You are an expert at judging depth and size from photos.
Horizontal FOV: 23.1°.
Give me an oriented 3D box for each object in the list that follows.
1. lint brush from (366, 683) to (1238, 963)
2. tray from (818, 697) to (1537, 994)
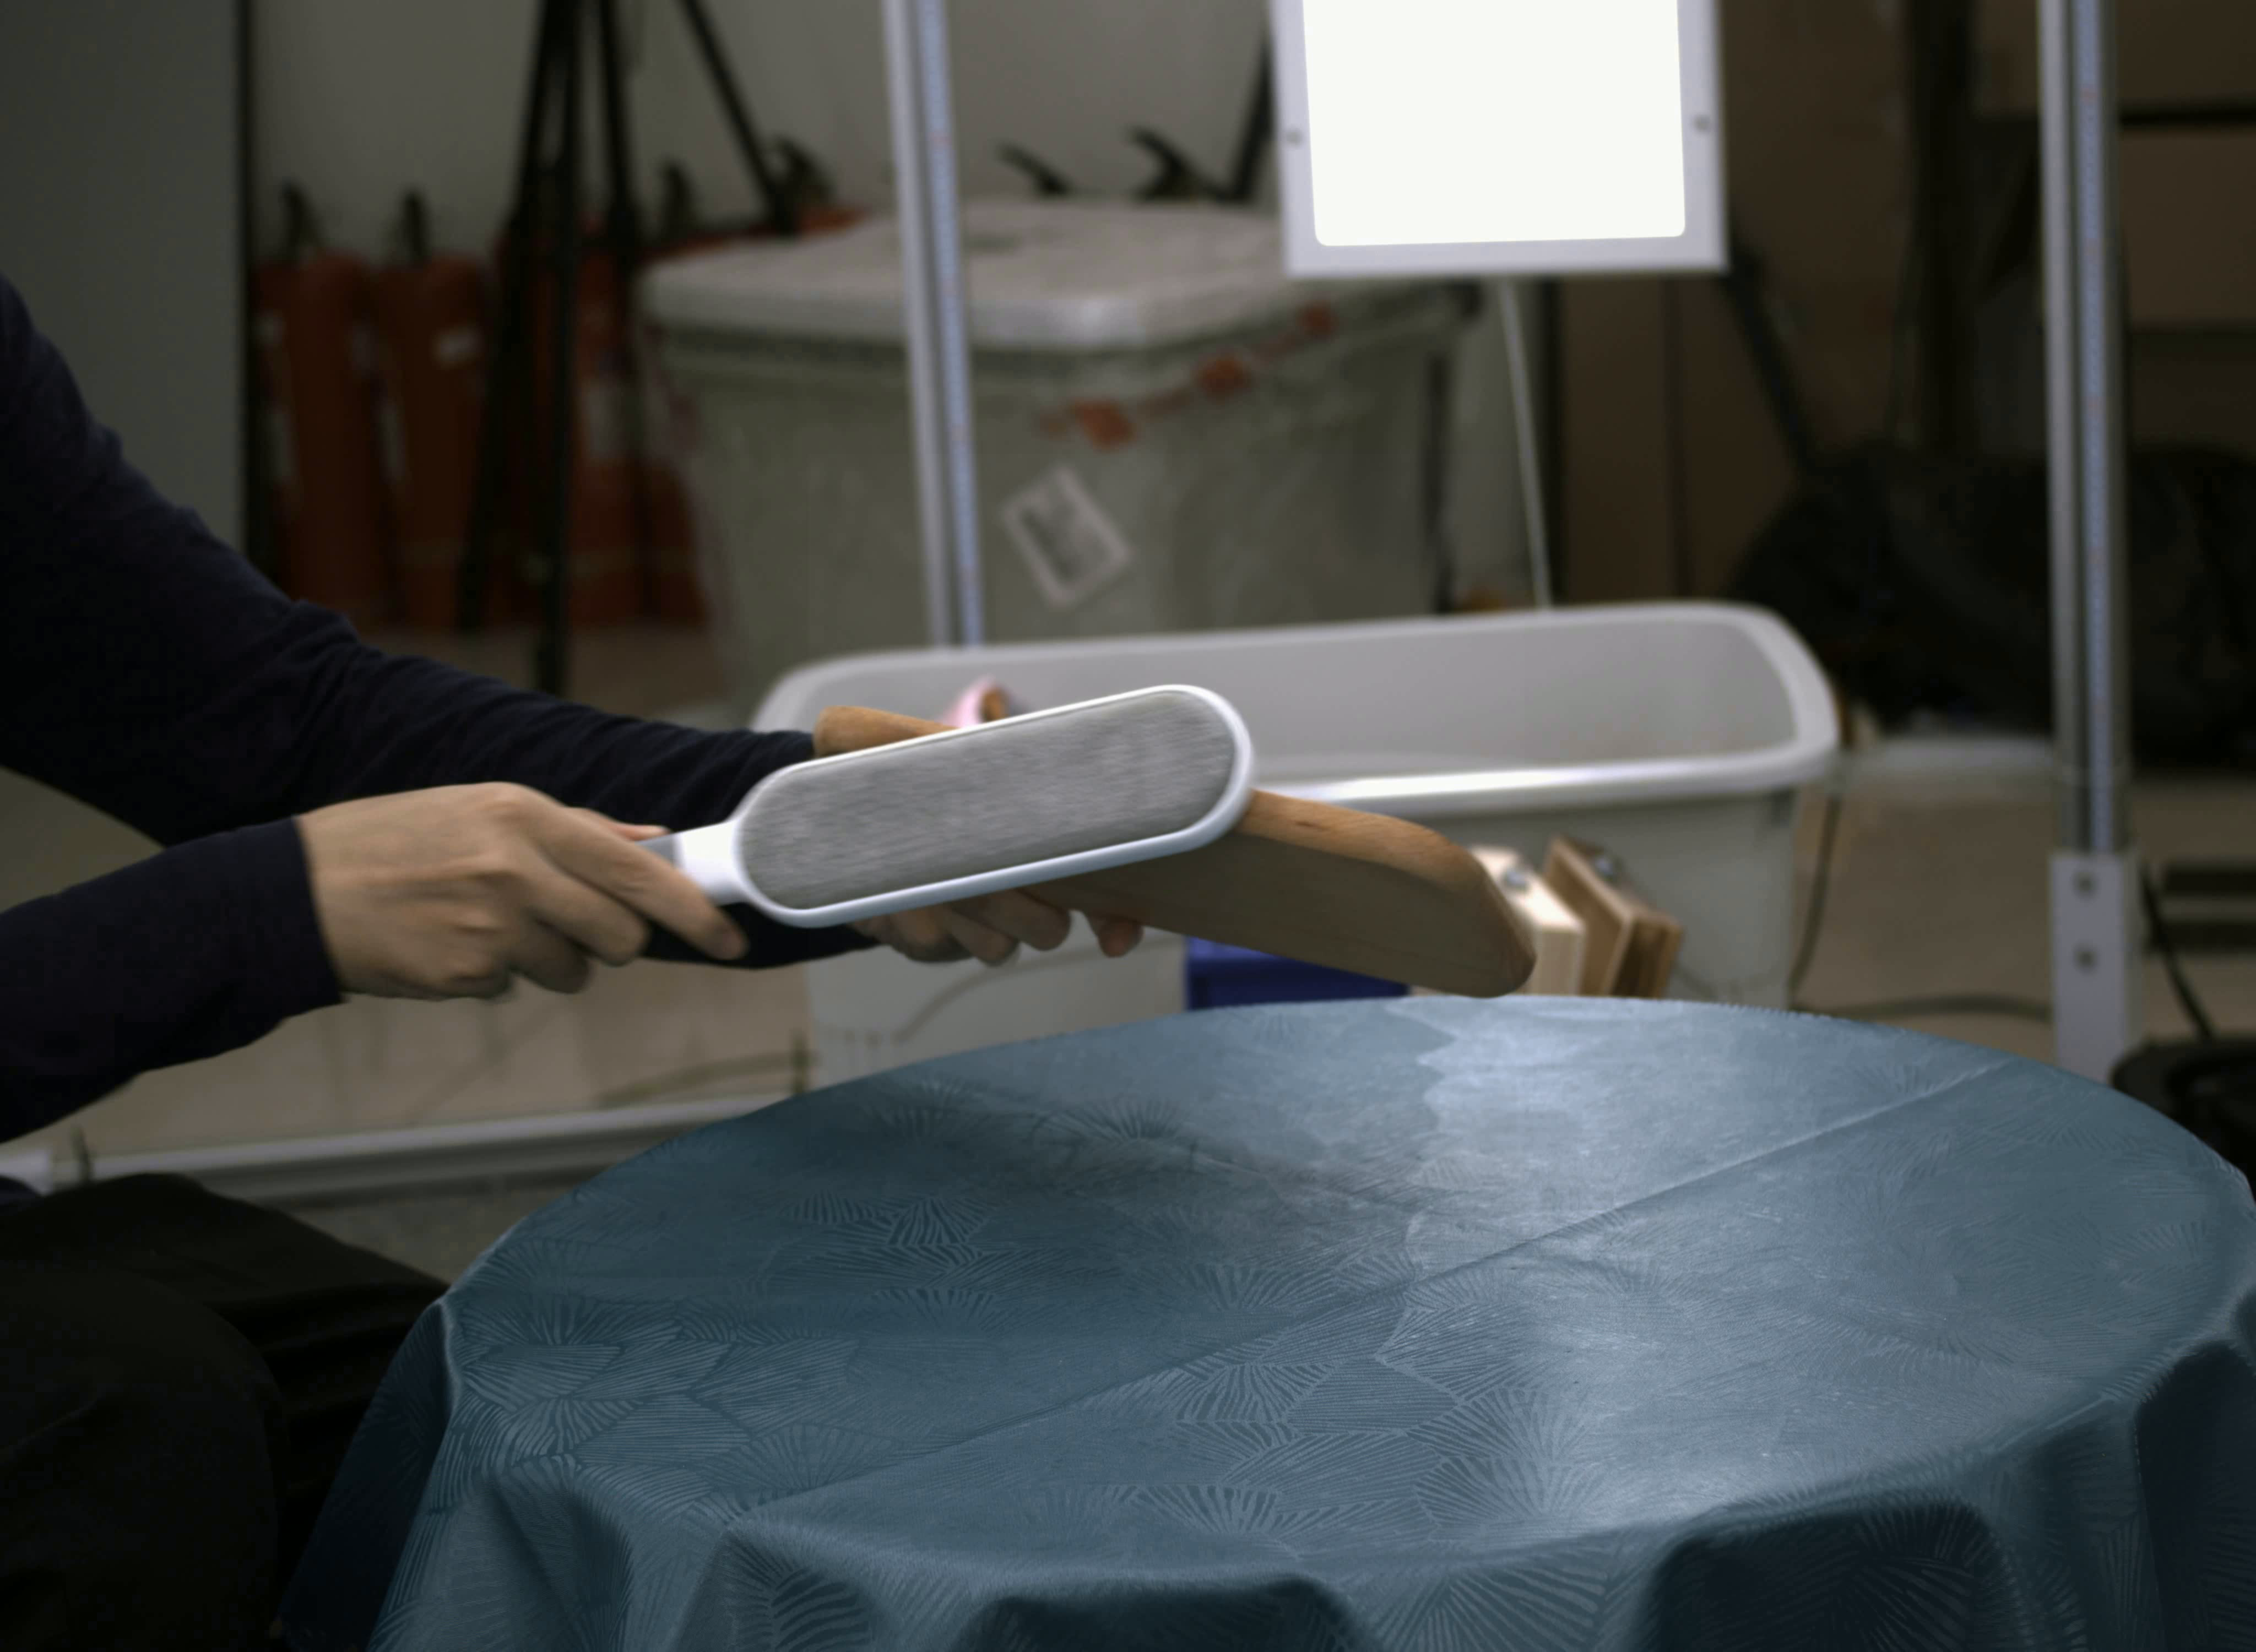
[{"bbox_3d":[-0.111,0.004,1.846,0.312,0.060,0.020,-12,-16,14],"label":"lint brush"},{"bbox_3d":[0.015,0.008,1.889,0.255,0.023,0.129,11,-23,28],"label":"tray"}]
